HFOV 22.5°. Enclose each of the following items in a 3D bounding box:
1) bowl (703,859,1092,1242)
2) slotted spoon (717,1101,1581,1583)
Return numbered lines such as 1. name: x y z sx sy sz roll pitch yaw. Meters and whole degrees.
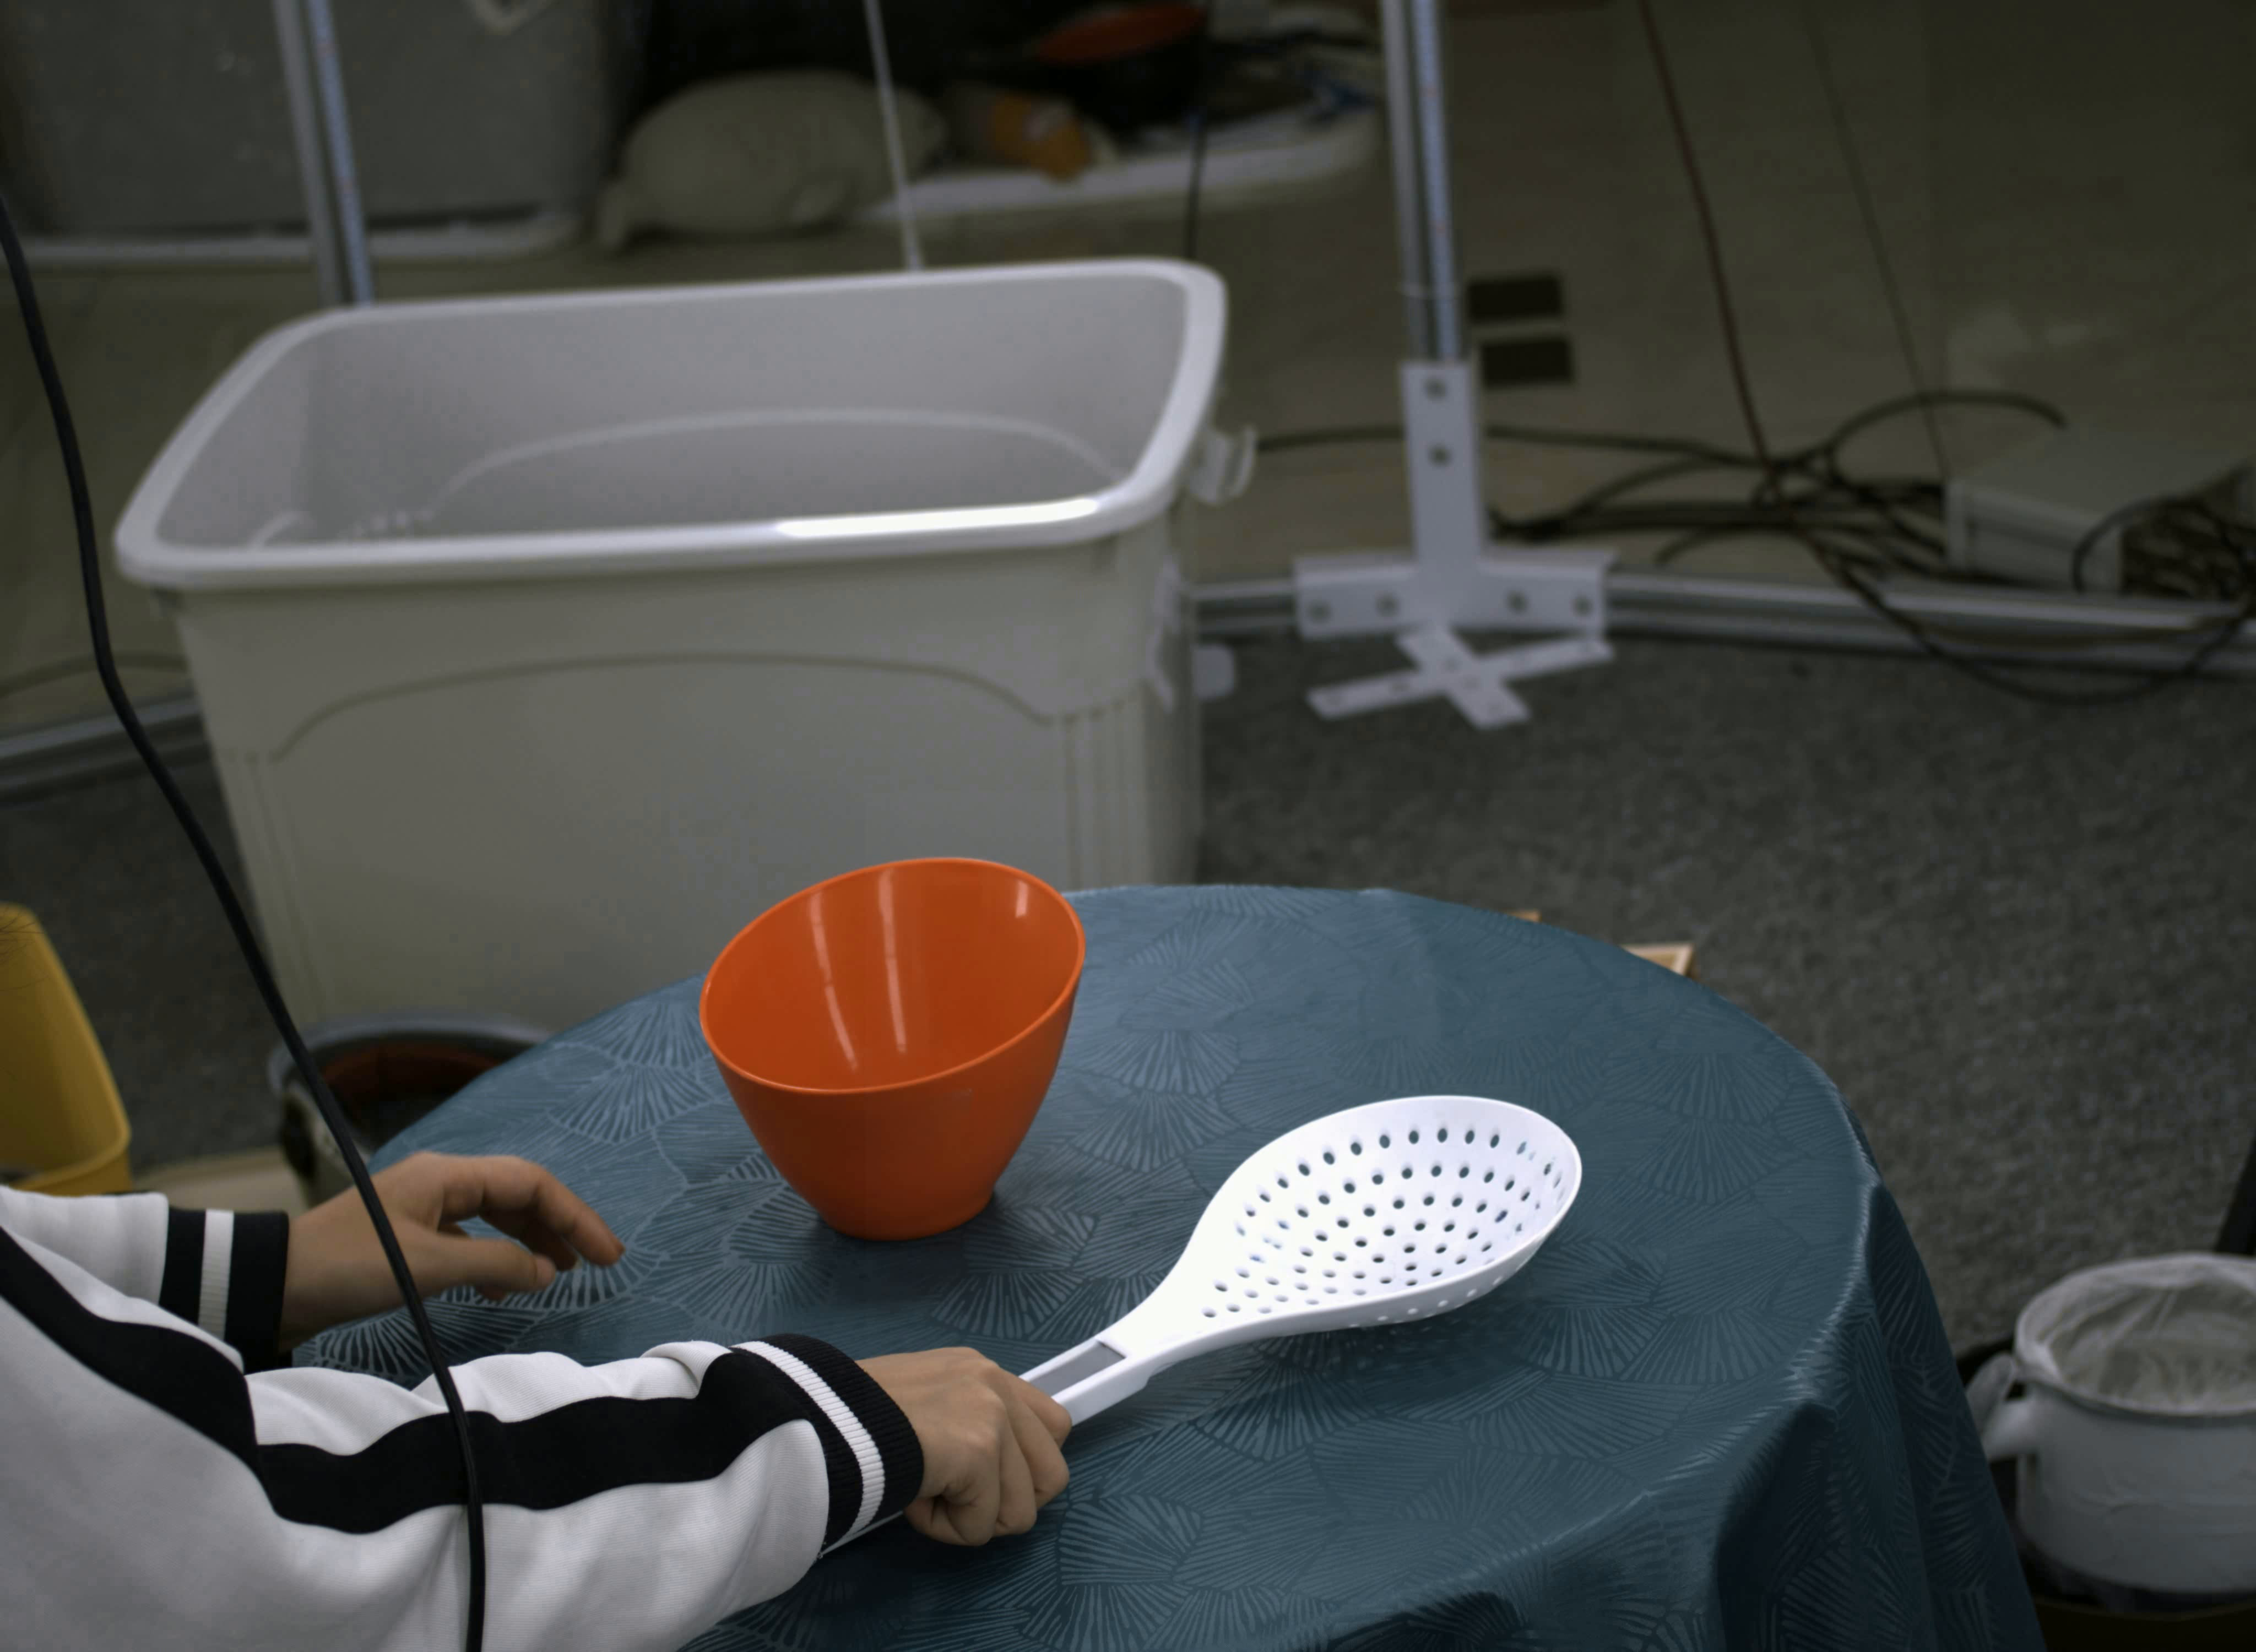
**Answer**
1. bowl: -0.085 0.092 2.147 0.148 0.106 0.146 -3 27 2
2. slotted spoon: 0.009 0.182 2.000 0.347 0.046 0.135 -21 26 -27
